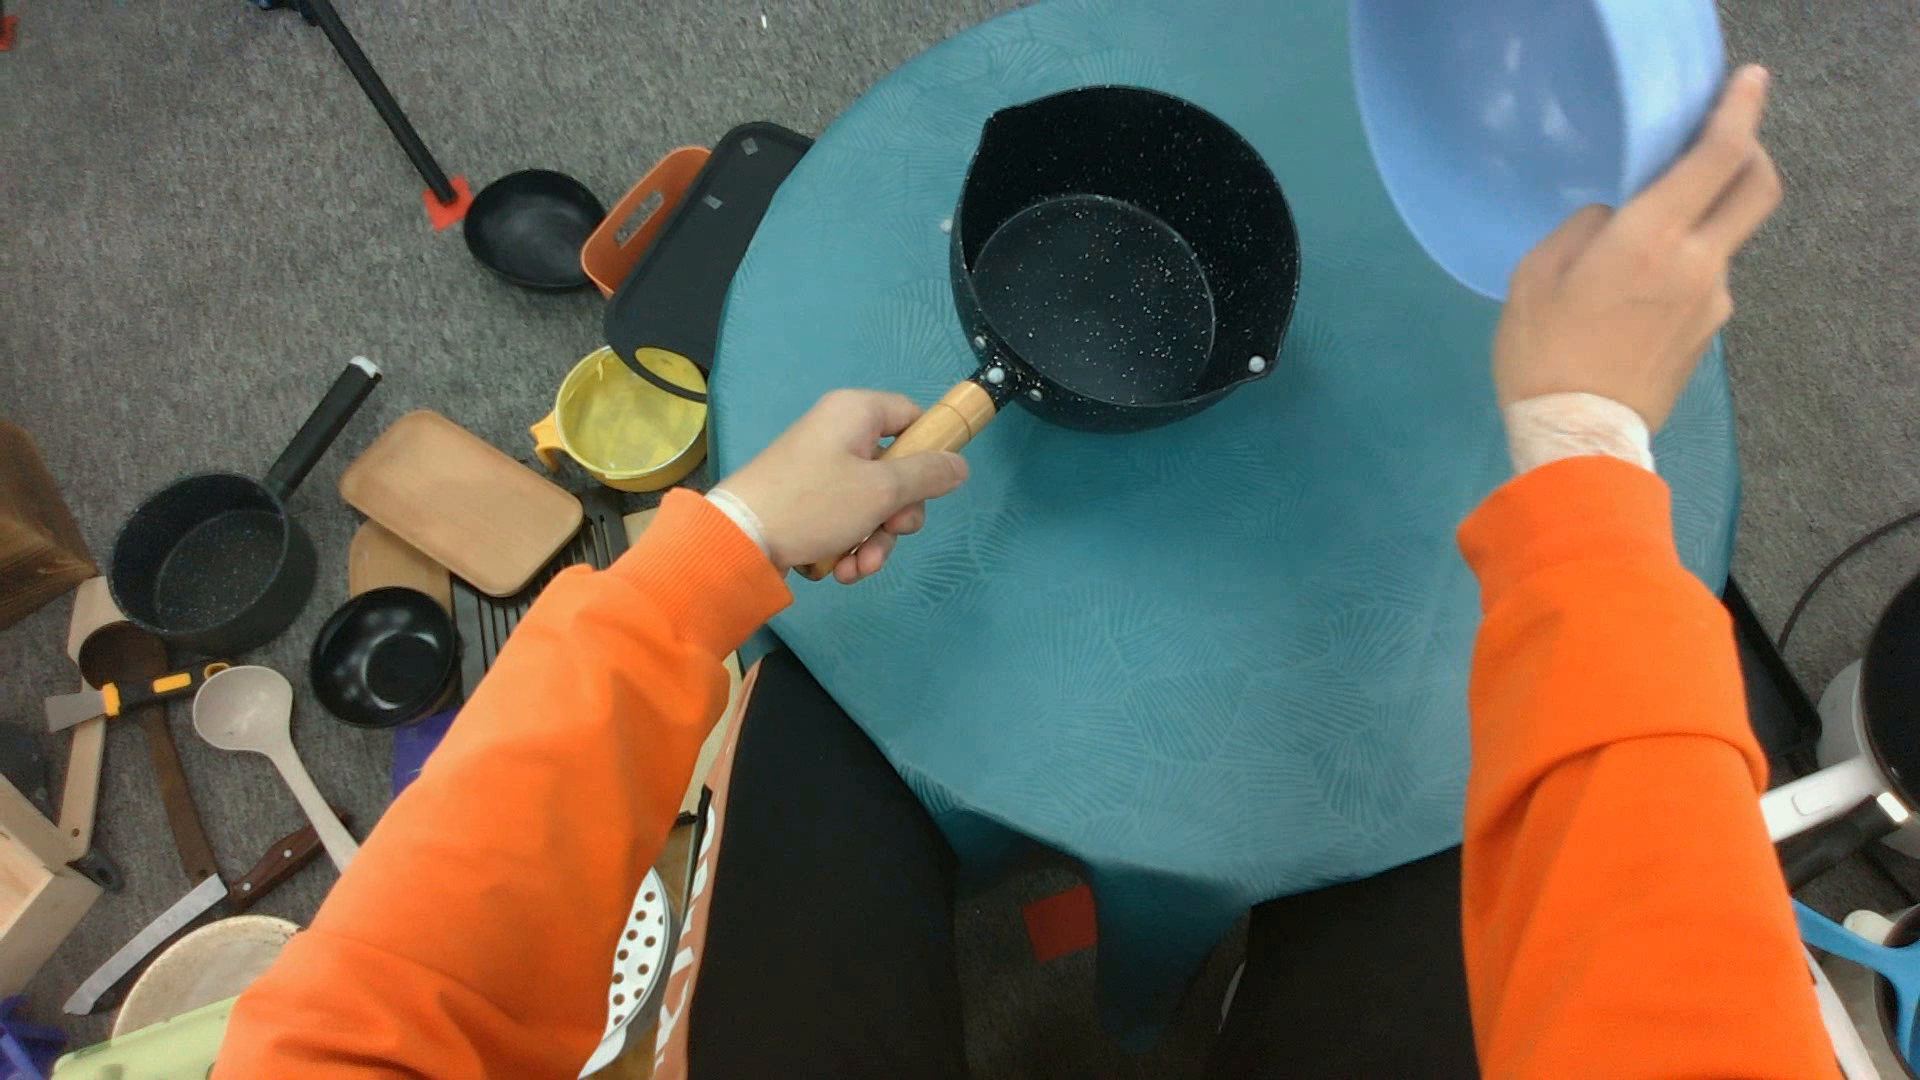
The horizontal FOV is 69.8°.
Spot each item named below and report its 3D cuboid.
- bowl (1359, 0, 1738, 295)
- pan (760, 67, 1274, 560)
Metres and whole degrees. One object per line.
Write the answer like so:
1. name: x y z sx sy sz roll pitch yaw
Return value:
1. bowl: 0.283 -0.221 0.639 0.095 0.195 0.197 -17 68 -14
2. pan: 0.020 -0.100 0.716 0.207 0.108 0.344 41 70 2
